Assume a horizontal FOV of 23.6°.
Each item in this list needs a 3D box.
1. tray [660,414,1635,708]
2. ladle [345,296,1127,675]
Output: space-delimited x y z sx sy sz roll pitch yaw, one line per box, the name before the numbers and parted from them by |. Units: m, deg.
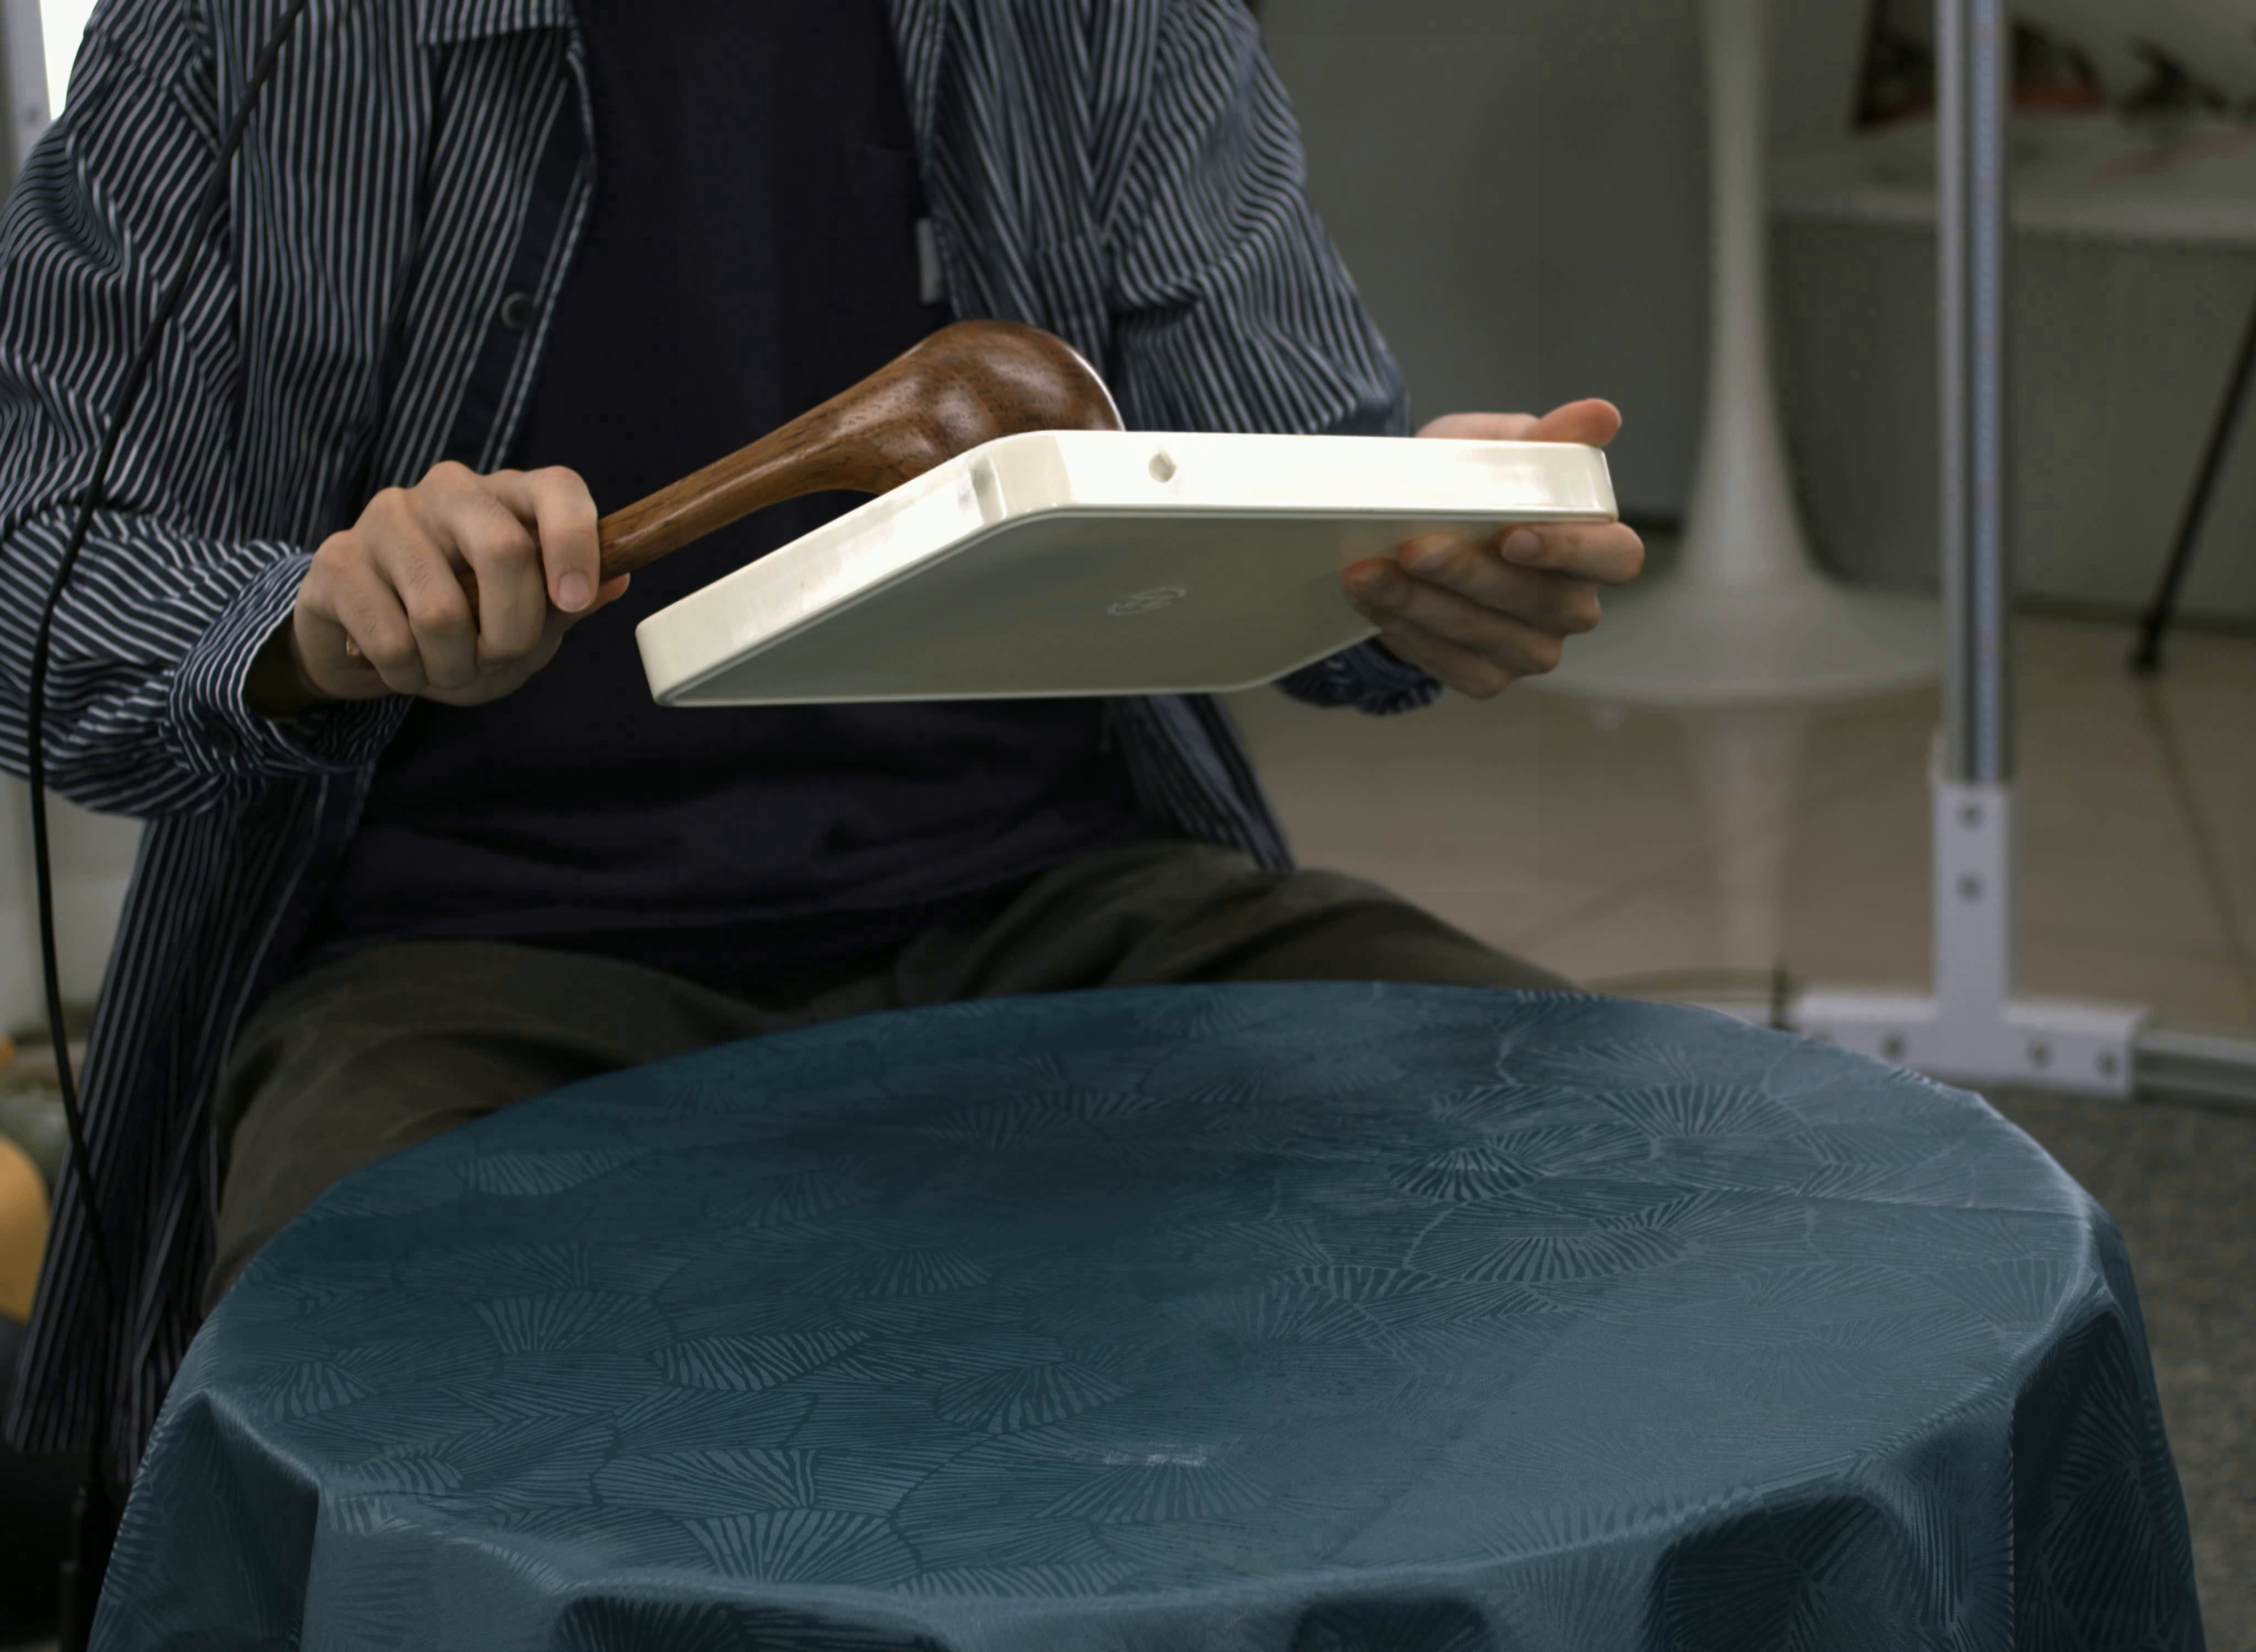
tray | 0.011 -0.083 1.767 0.293 0.028 0.193 -2 -18 -46
ladle | -0.124 -0.094 1.731 0.275 0.083 0.075 -23 -42 29
